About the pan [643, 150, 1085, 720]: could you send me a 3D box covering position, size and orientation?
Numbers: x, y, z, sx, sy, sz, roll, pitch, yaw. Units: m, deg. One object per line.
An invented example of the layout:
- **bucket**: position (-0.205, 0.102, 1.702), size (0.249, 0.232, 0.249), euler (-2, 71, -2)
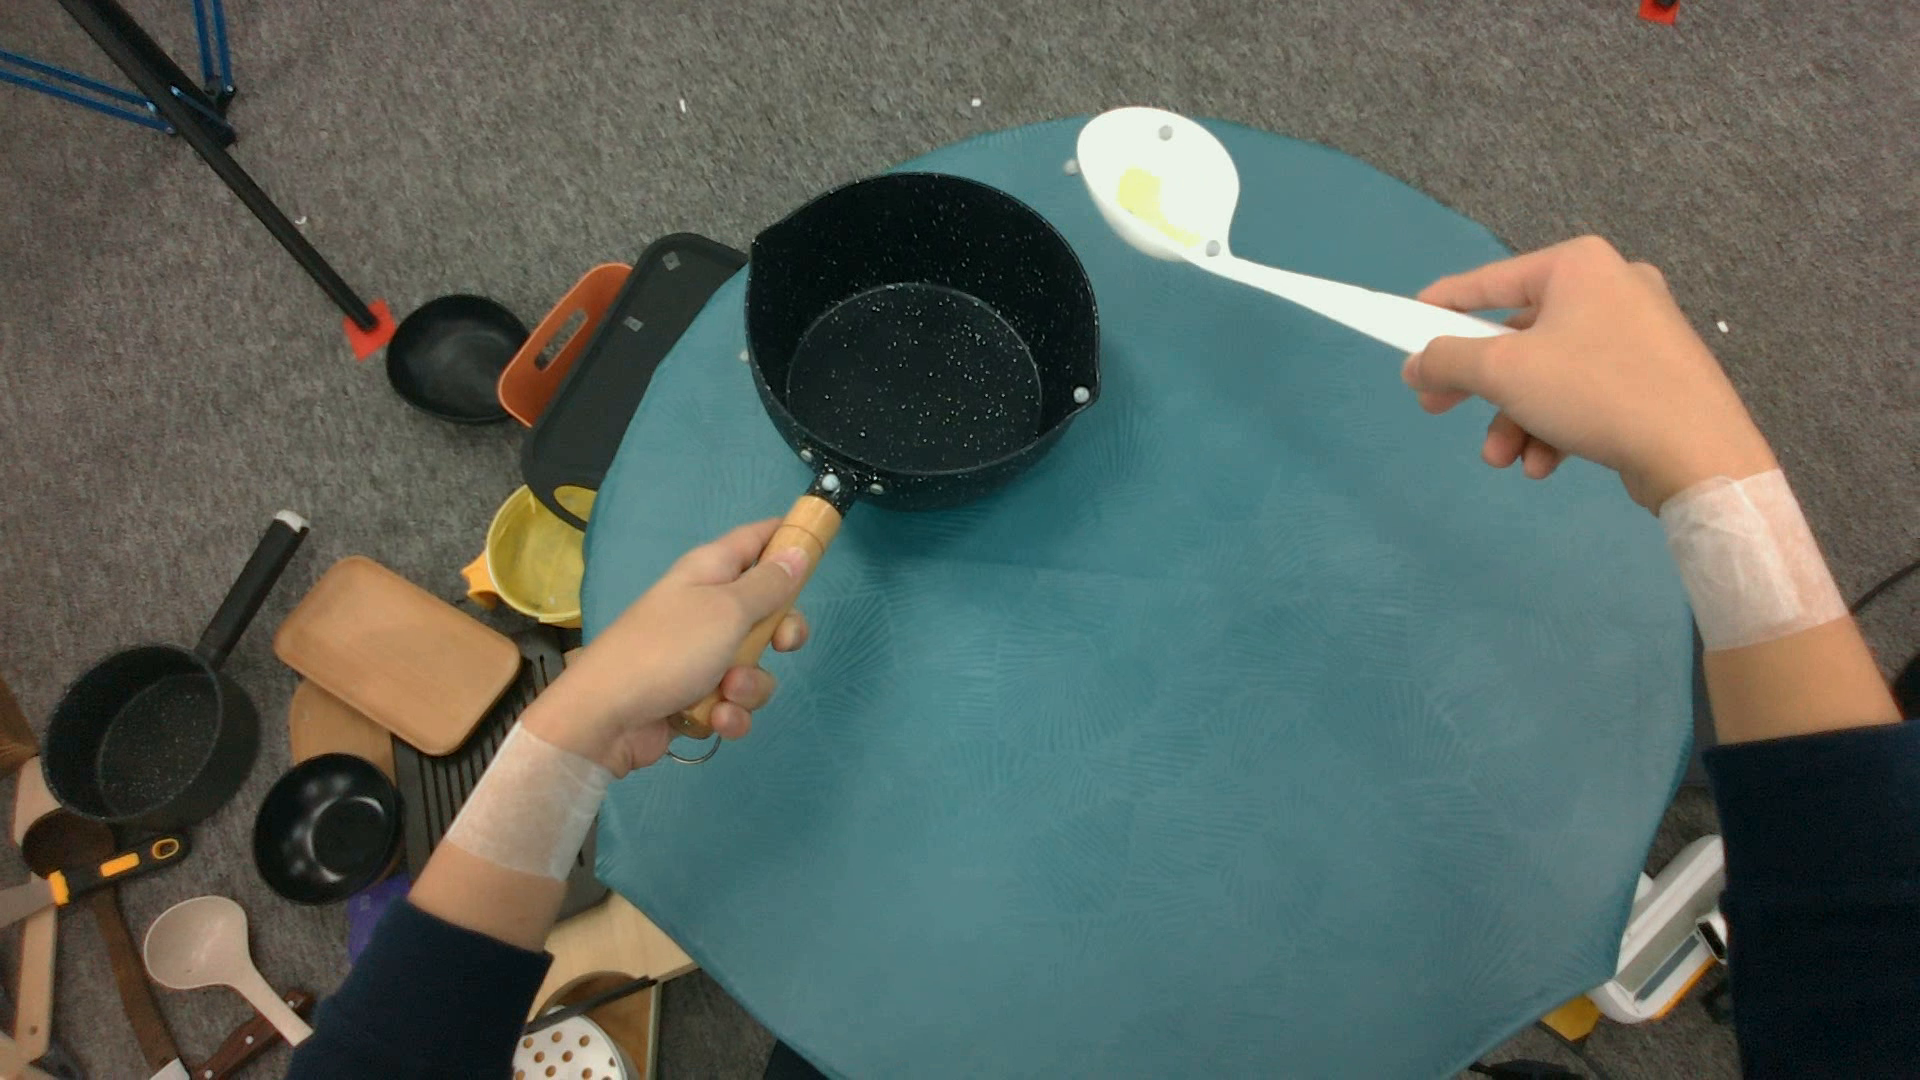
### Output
- **pan**: position (-0.062, -0.047, 0.705), size (0.207, 0.108, 0.344), euler (23, 65, 3)

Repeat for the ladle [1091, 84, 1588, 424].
- **ladle**: position (0.161, -0.141, 0.625), size (0.090, 0.069, 0.293), euler (-4, 29, -32)
